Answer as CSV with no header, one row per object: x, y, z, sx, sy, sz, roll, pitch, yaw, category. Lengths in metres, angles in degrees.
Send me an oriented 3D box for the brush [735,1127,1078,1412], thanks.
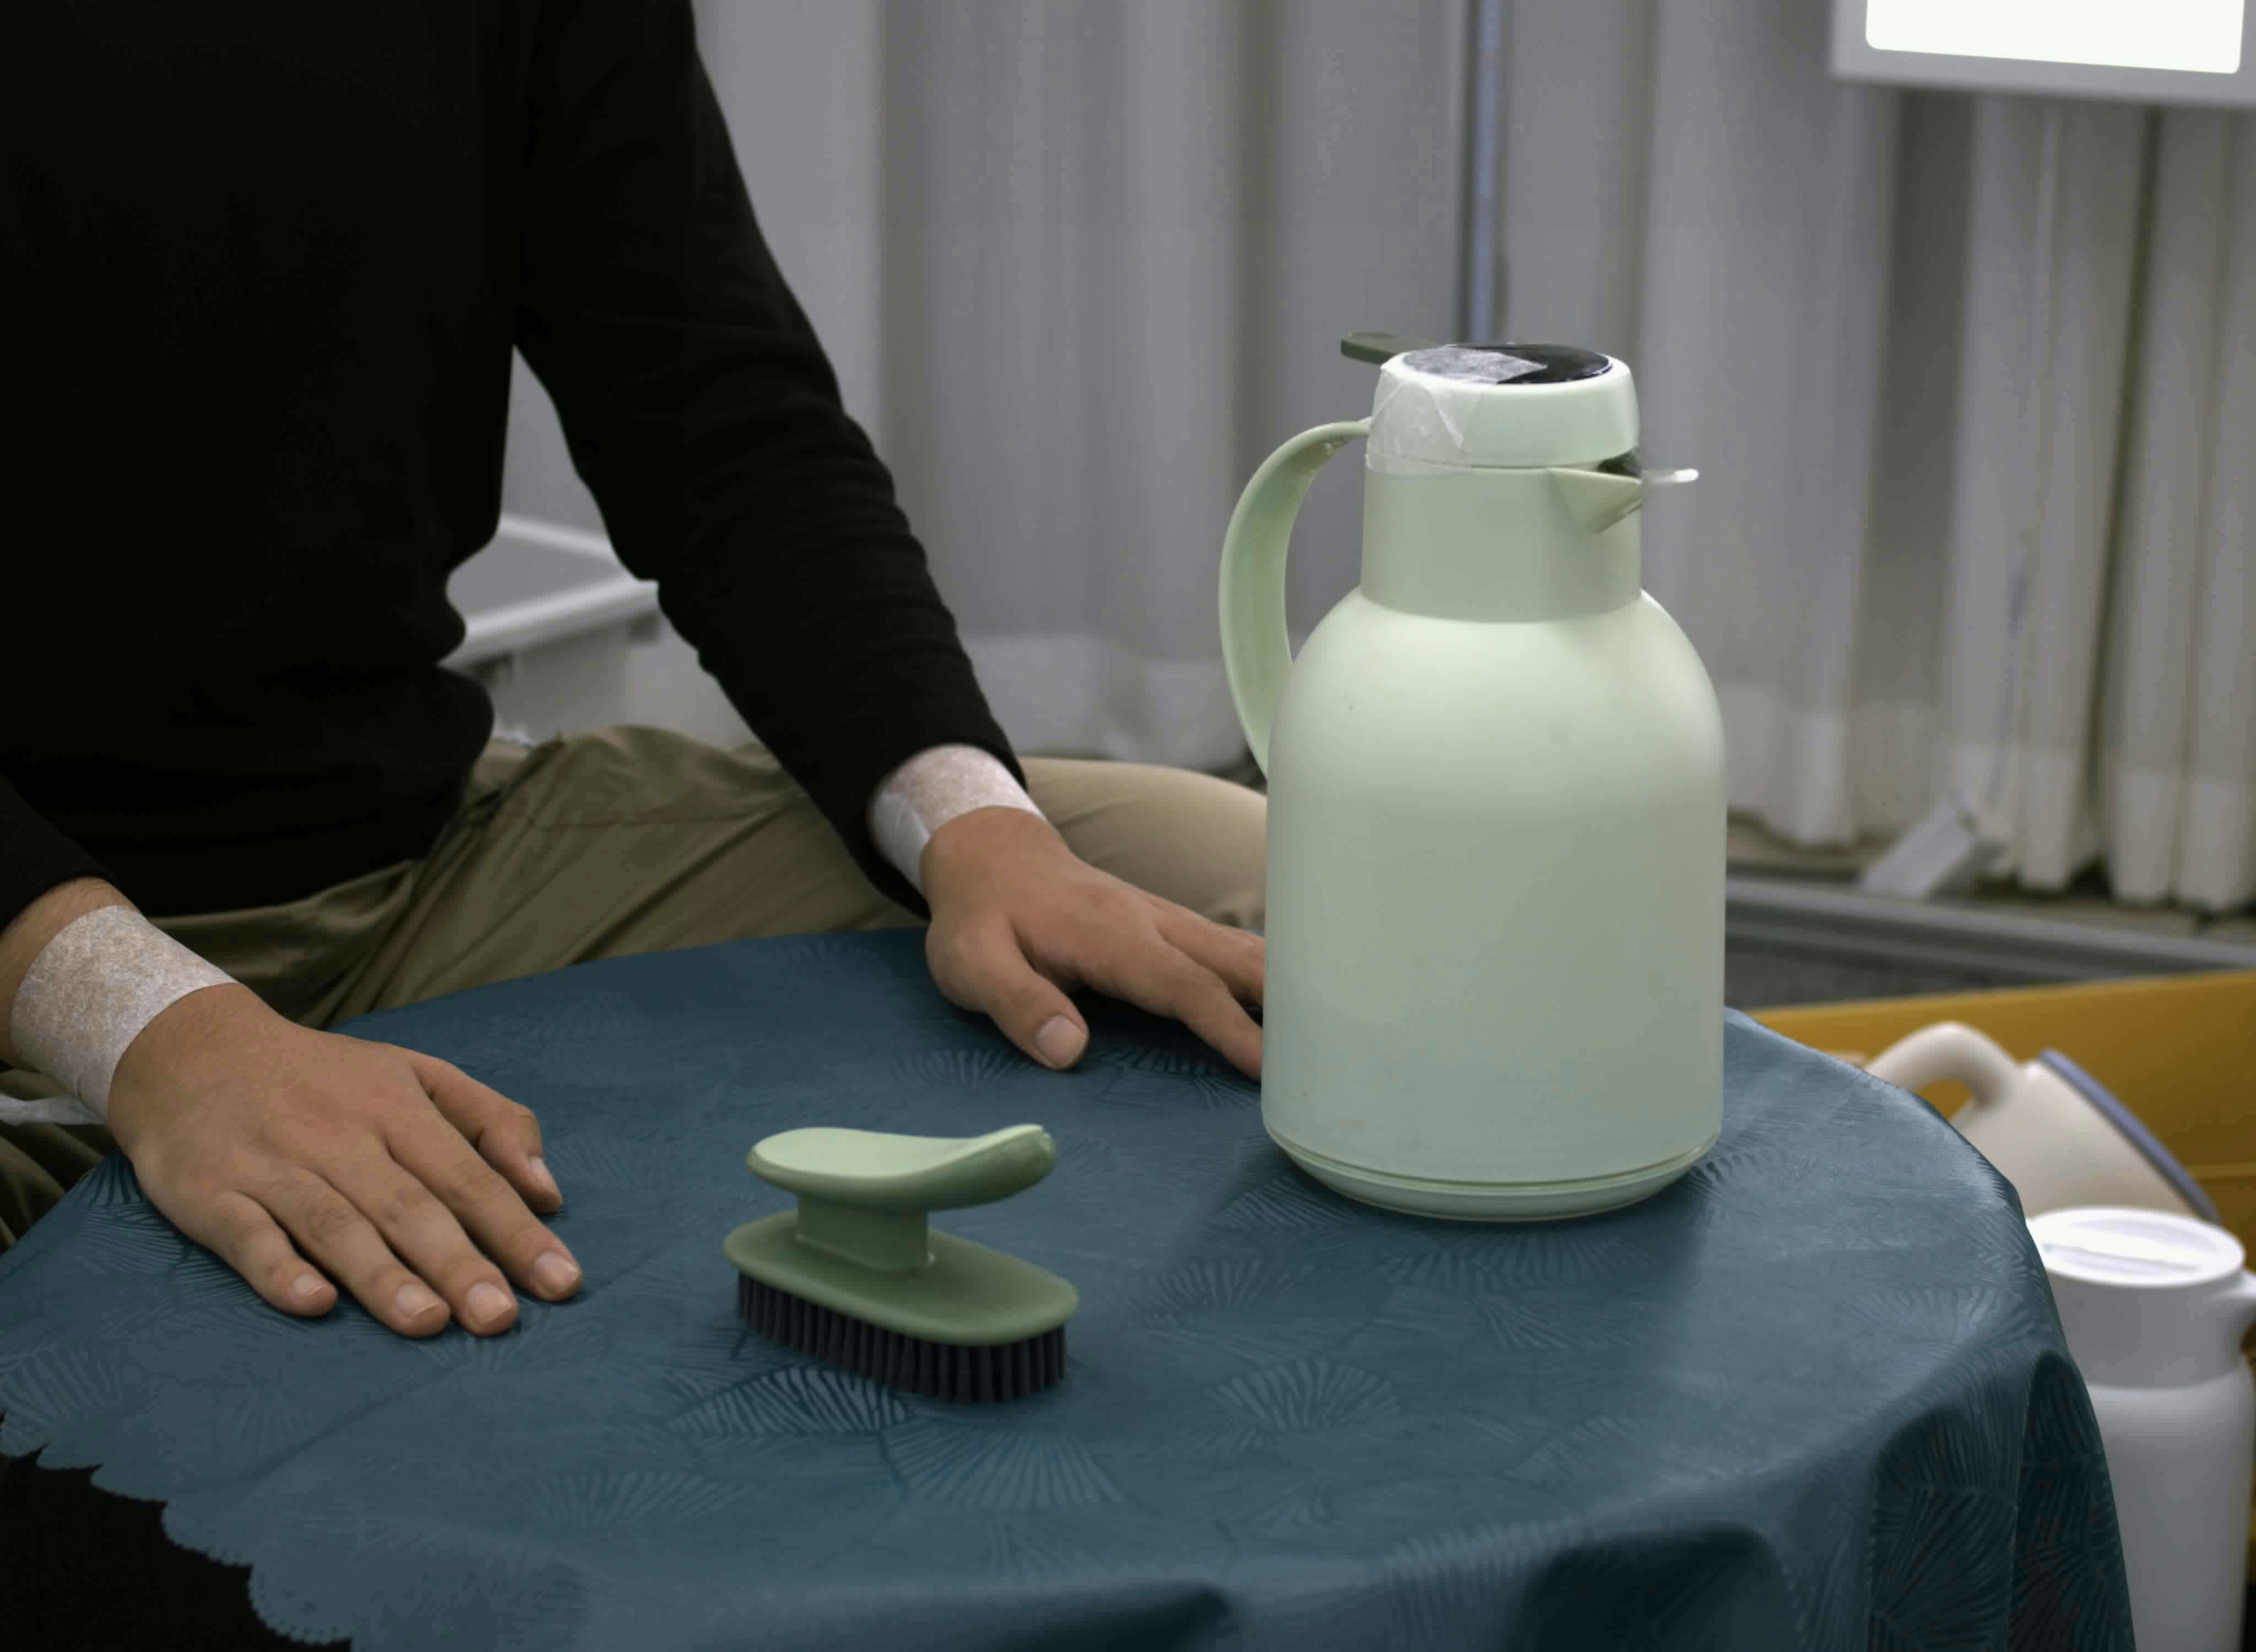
-0.063,0.125,1.489,0.060,0.076,0.122,-15,4,-39,brush

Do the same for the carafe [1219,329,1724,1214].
0.102,-0.022,1.626,0.145,0.259,0.184,-14,19,-42,carafe
